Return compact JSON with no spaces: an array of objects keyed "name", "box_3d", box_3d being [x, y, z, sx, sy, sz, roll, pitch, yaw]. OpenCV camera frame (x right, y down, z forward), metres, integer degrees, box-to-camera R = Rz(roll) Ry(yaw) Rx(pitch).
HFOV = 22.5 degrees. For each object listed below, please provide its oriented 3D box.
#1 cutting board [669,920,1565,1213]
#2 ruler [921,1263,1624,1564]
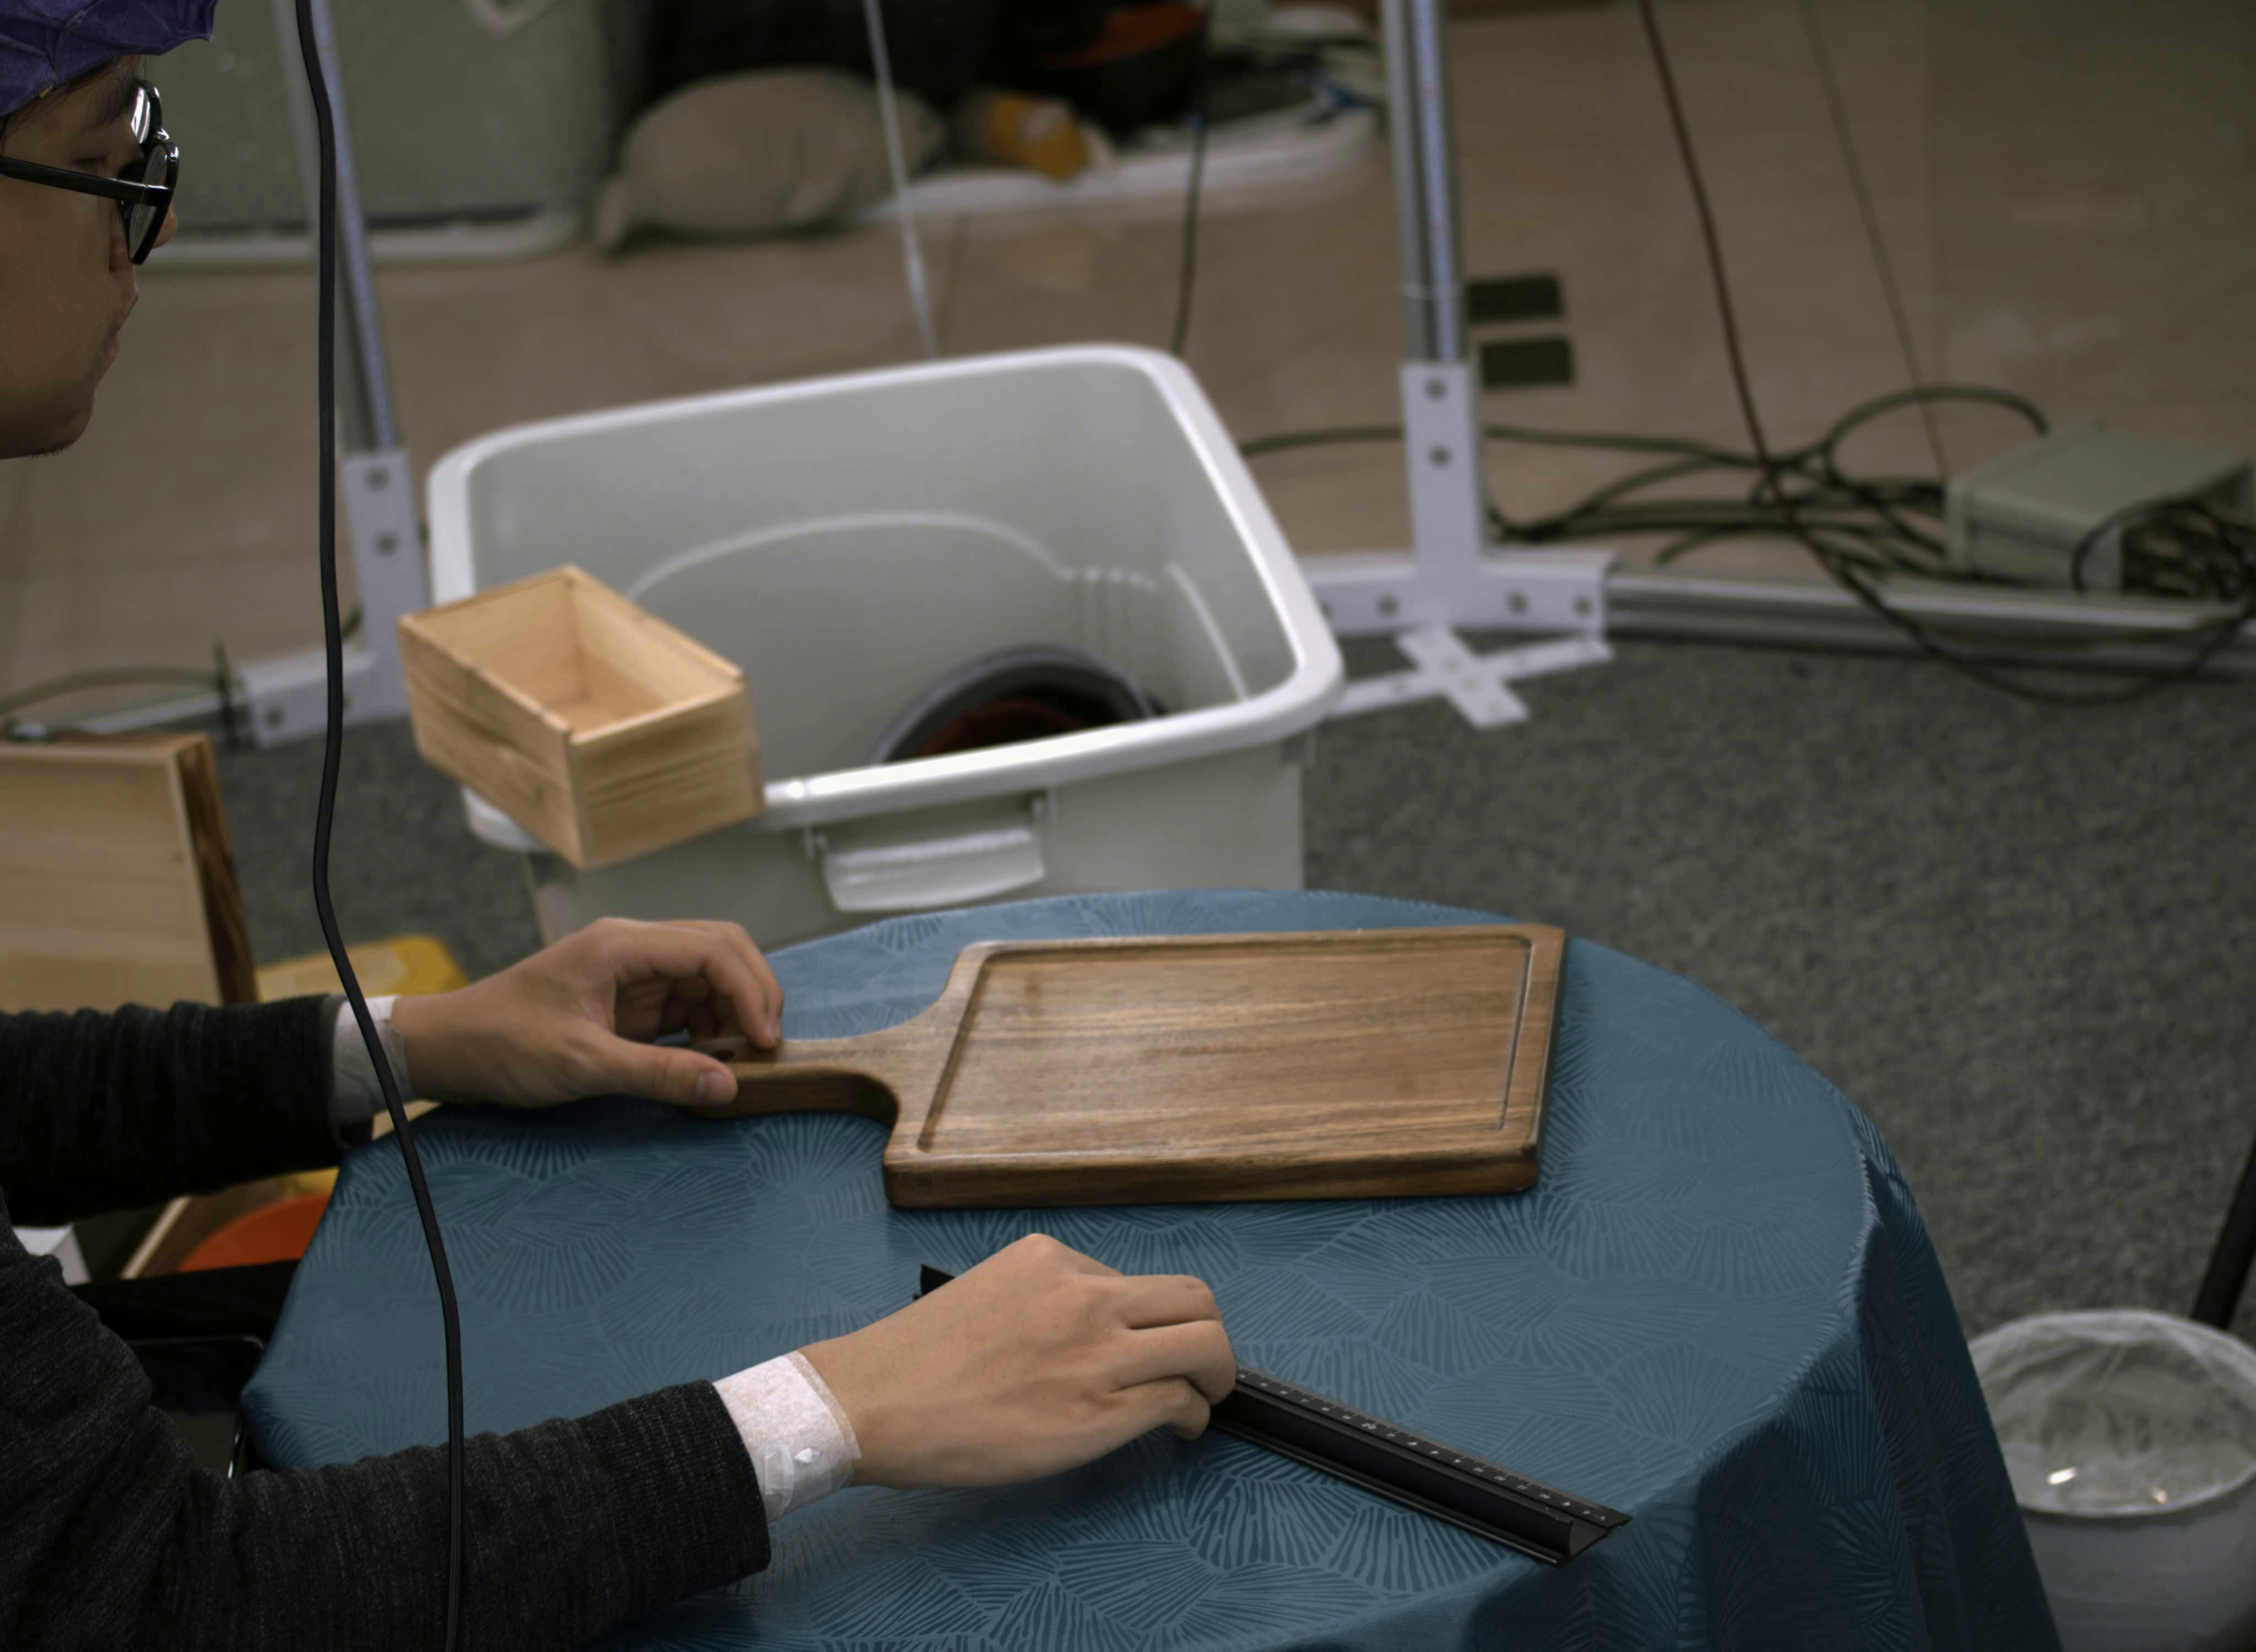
[{"name":"cutting board","box_3d":[-0.007,0.094,2.222,0.351,0.023,0.198,-3,25,9]},{"name":"ruler","box_3d":[0.045,0.197,1.993,0.310,0.017,0.039,18,32,42]}]
